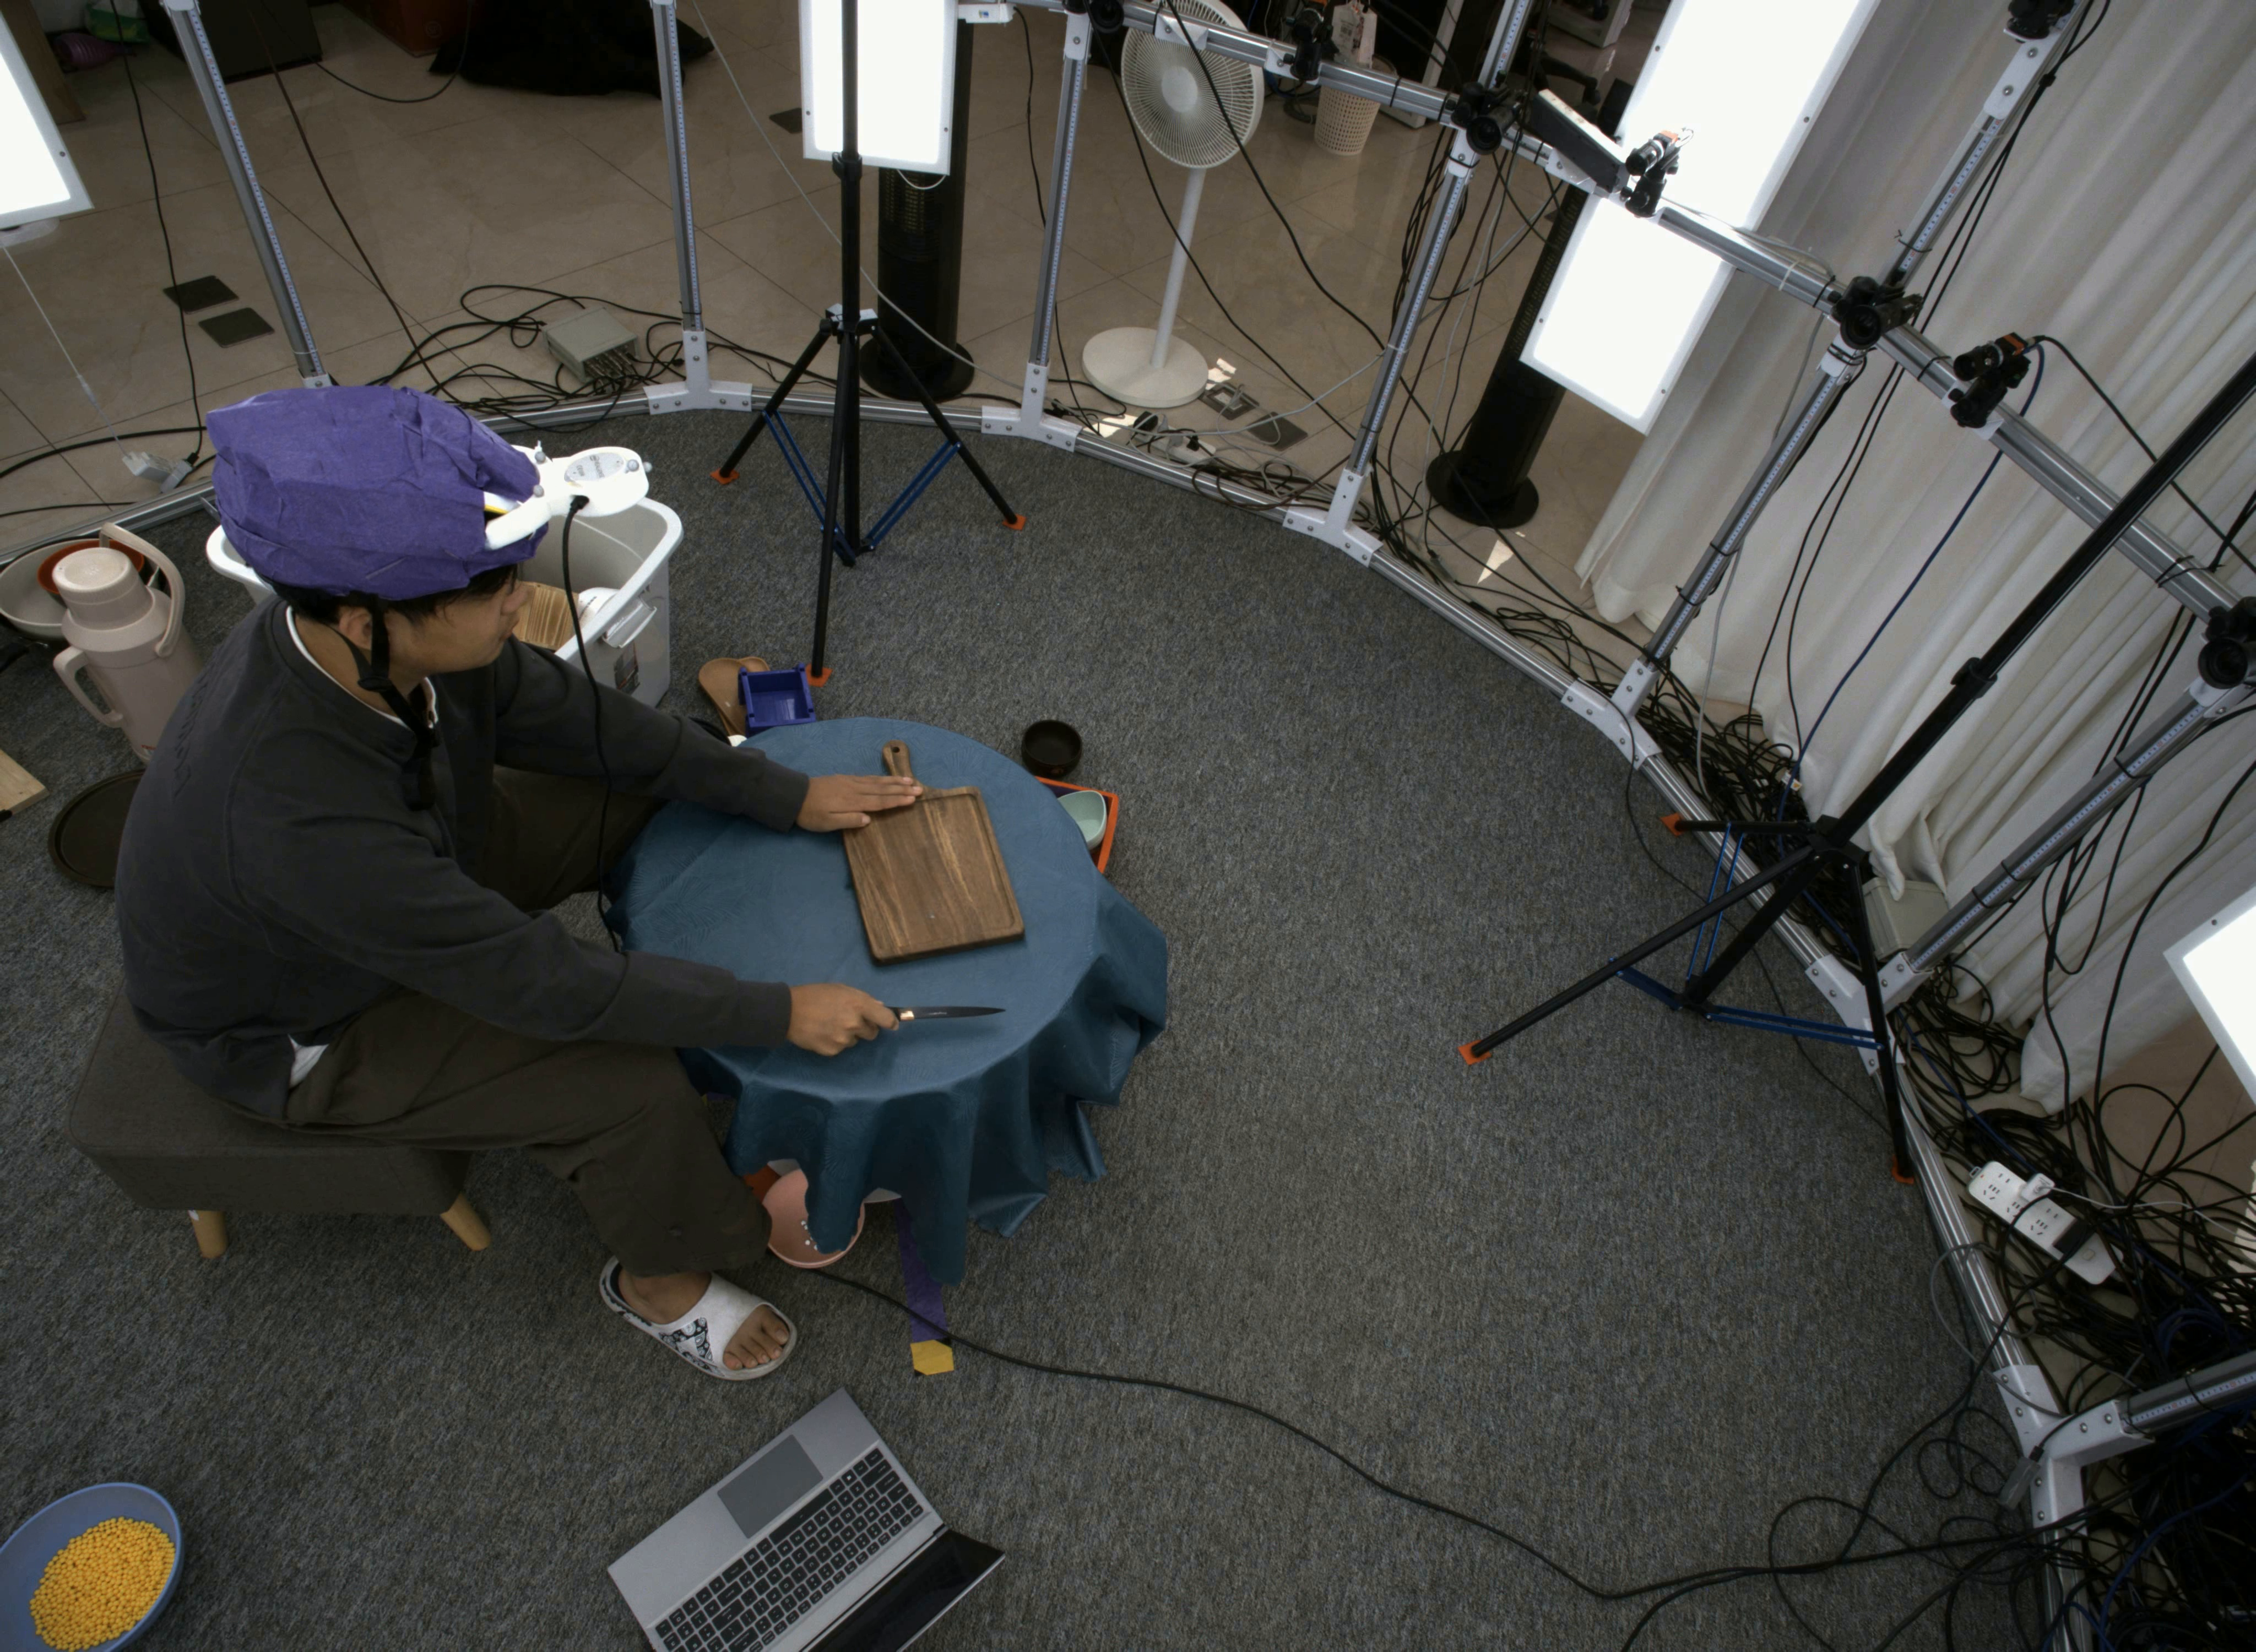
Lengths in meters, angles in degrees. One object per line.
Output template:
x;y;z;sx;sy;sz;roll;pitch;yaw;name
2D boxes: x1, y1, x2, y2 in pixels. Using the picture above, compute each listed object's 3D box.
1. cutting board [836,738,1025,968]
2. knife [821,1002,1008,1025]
-0.276;0.019;1.729;0.202;0.023;0.343;-9;57;-20;cutting board
-0.254;0.221;1.561;0.226;0.018;0.025;-1;32;-16;knife
